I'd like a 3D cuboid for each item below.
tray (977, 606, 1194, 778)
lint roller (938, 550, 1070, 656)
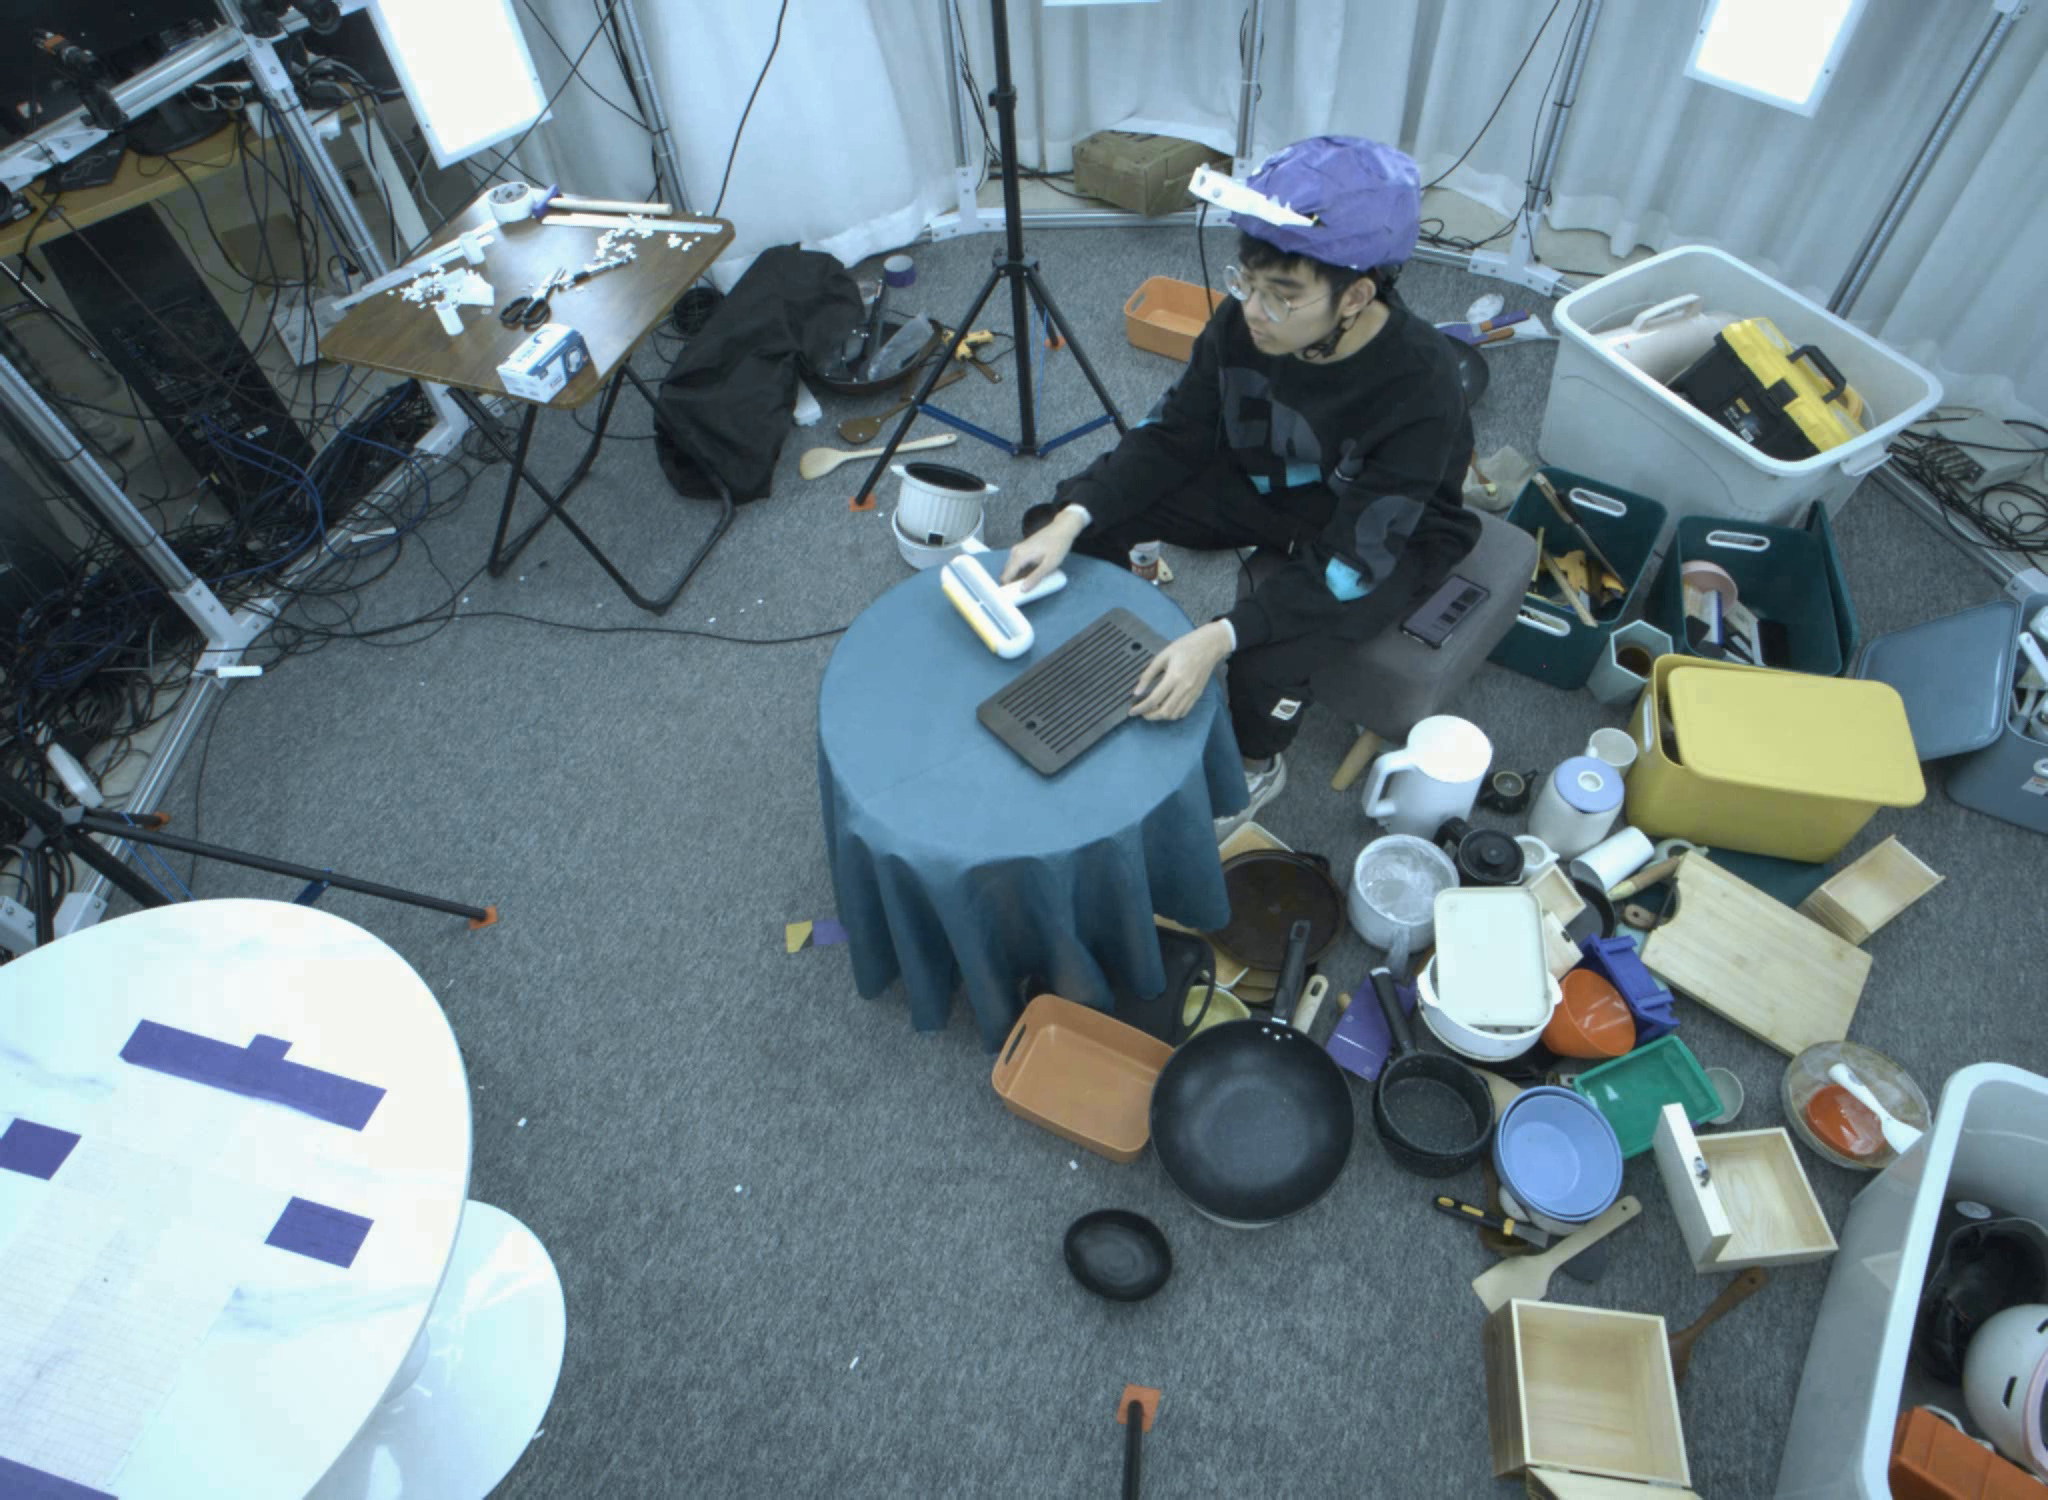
[{"bbox_3d":[0.093,-0.090,1.833,0.308,0.019,0.167,-37,61,-22],"label":"tray"},{"bbox_3d":[-0.014,-0.248,1.918,0.194,0.075,0.190,-28,64,-18],"label":"lint roller"}]
